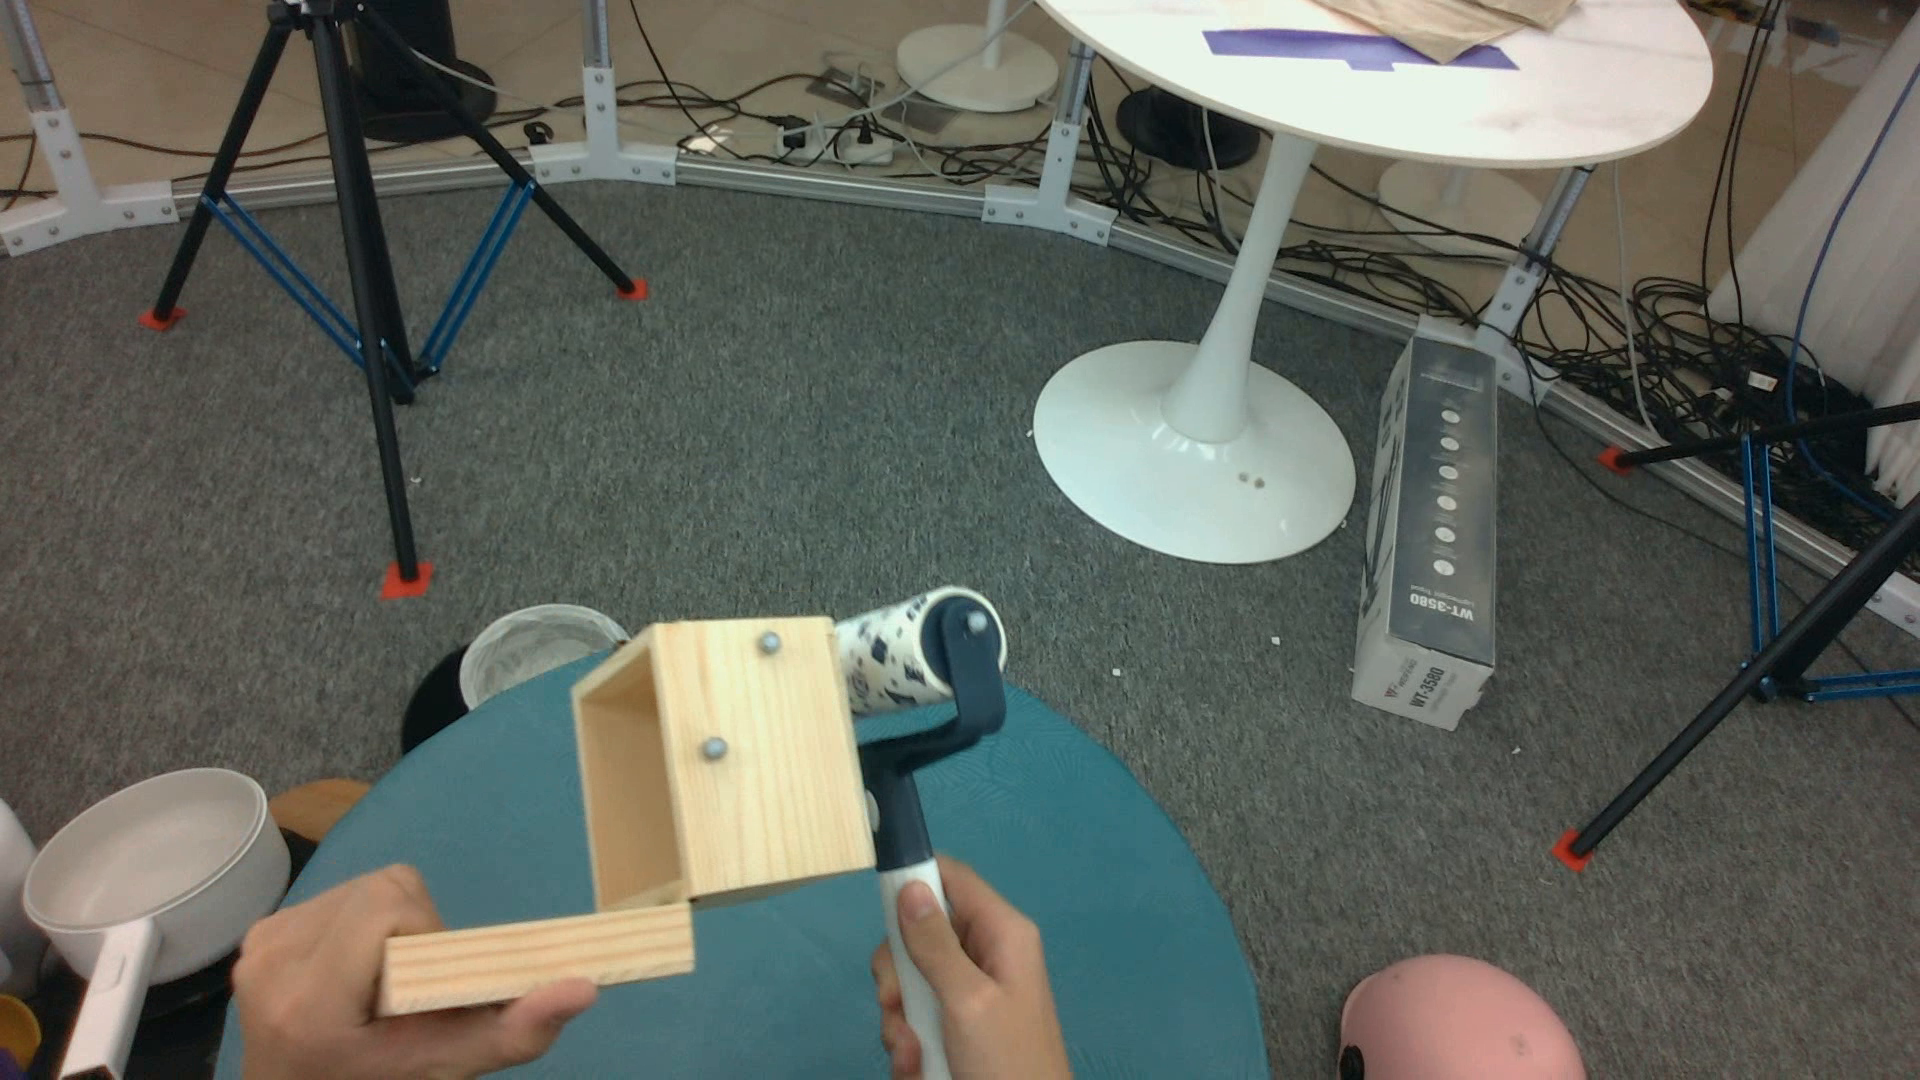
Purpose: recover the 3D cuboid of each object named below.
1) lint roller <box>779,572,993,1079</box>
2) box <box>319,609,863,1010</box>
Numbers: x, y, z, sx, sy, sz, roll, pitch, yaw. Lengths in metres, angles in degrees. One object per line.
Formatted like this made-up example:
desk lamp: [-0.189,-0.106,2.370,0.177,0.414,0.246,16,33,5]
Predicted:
lint roller: [-0.028,0.148,0.623,0.050,0.175,0.247,-13,86,-39]
box: [-0.146,0.100,0.535,0.185,0.102,0.134,0,71,-35]
